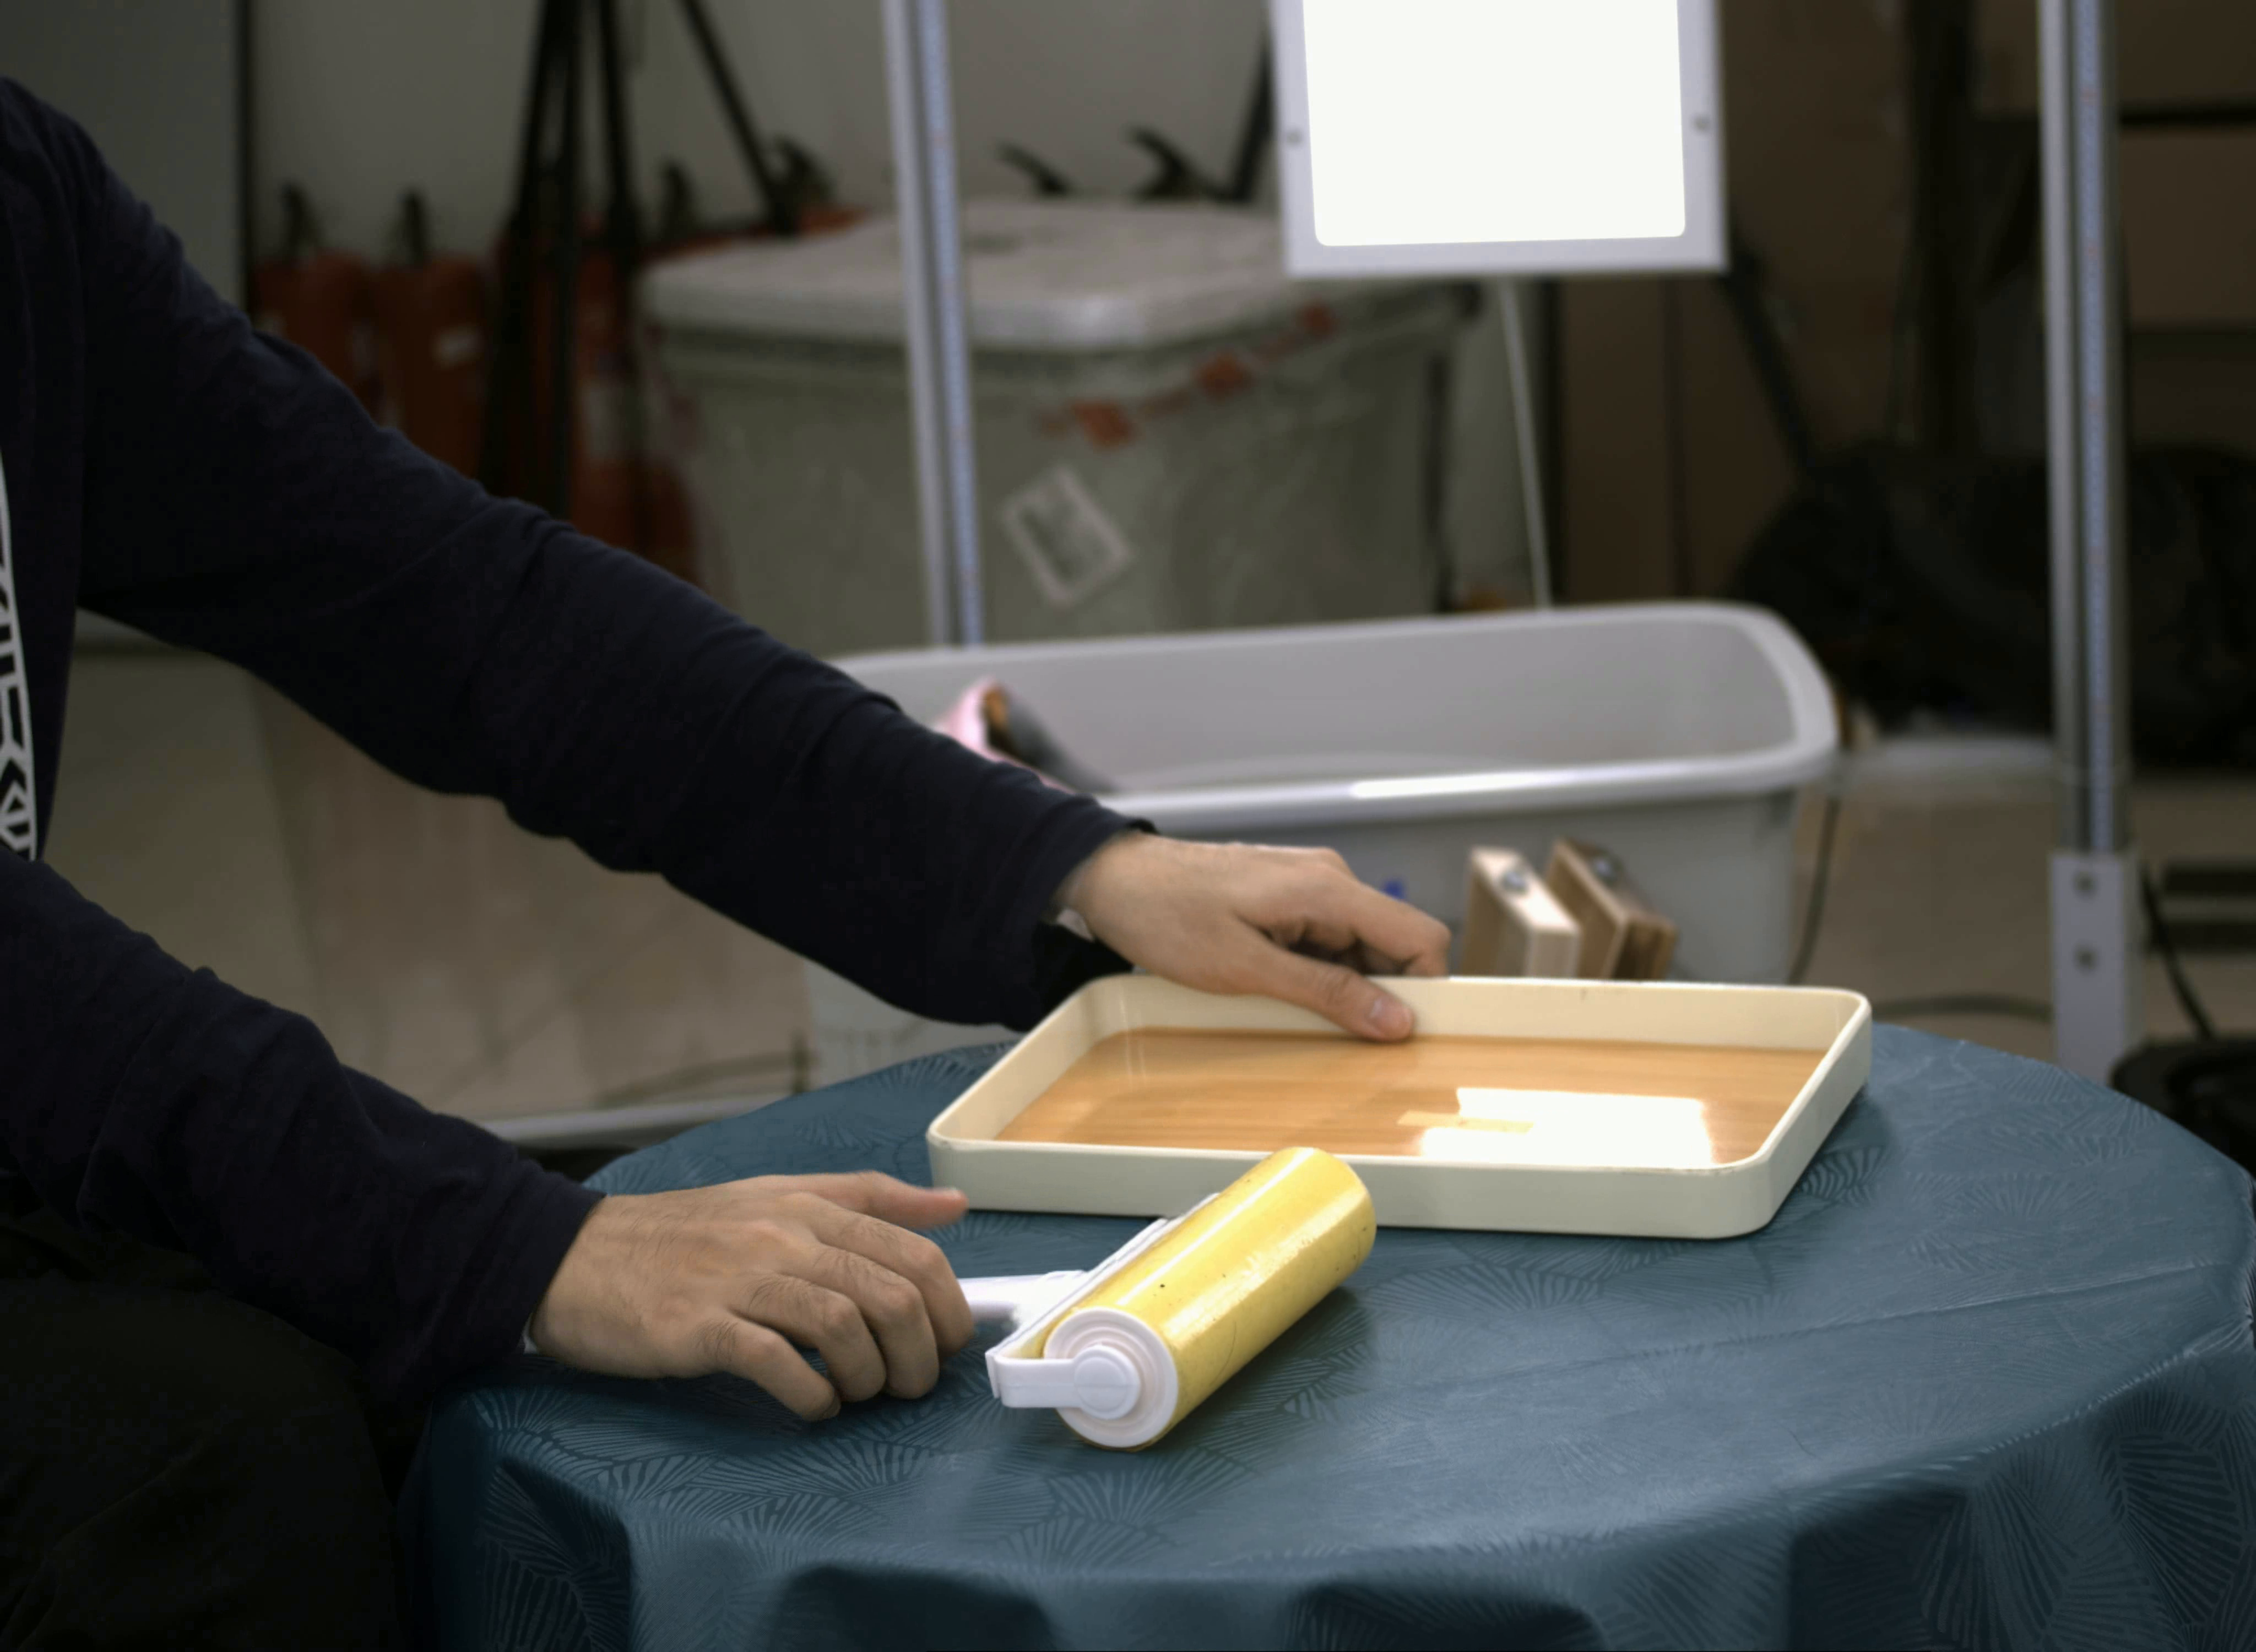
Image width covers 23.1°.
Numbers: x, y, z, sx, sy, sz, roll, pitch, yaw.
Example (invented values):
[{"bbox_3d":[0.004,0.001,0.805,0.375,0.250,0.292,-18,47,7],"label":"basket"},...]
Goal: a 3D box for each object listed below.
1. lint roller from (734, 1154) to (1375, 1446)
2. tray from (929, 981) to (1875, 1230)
[{"bbox_3d":[-0.038,0.143,1.745,0.195,0.051,0.171,4,15,24],"label":"lint roller"},{"bbox_3d":[0.098,0.096,1.923,0.305,0.027,0.188,0,16,23],"label":"tray"}]
